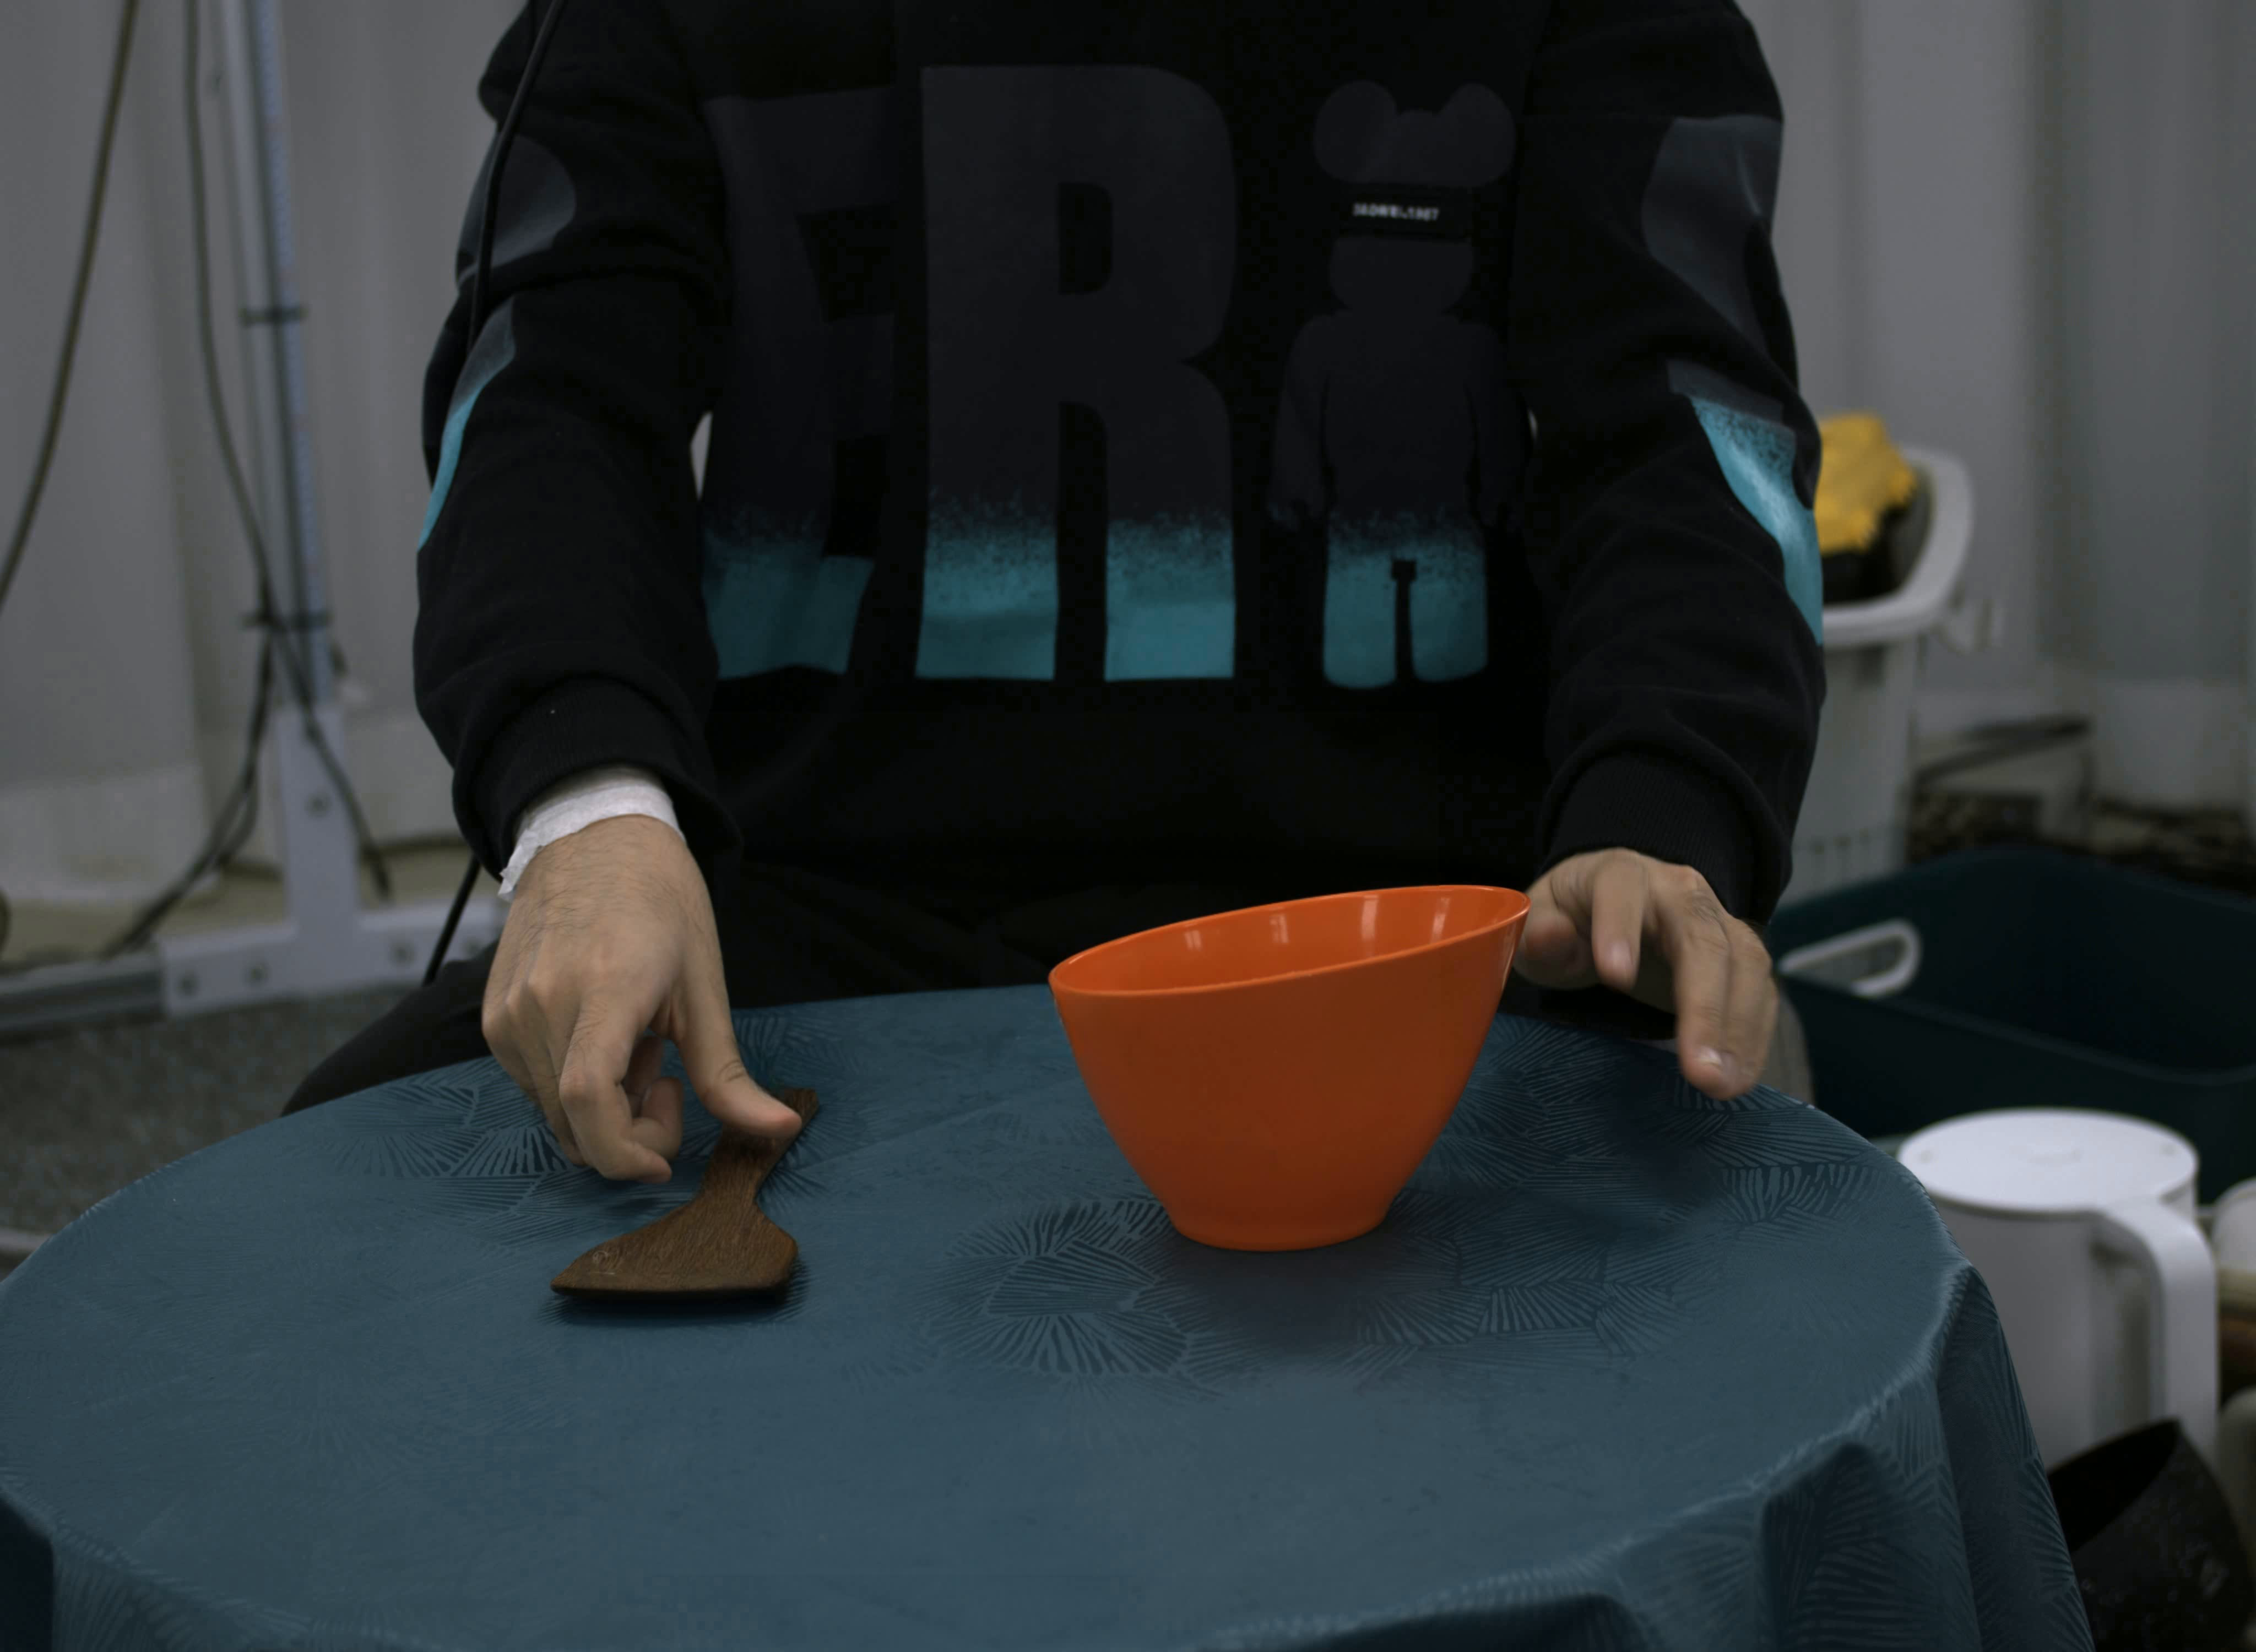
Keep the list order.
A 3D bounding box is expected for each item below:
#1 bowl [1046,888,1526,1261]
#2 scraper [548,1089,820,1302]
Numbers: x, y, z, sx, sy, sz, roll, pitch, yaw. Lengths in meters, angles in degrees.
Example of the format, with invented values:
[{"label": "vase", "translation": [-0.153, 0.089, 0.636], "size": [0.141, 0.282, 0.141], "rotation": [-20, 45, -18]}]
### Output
[{"label": "bowl", "translation": [0.050, 0.075, 1.663], "size": [0.147, 0.104, 0.149], "rotation": [-5, 14, 1]}, {"label": "scraper", "translation": [-0.126, 0.116, 1.720], "size": [0.075, 0.011, 0.212], "rotation": [0, 14, 7]}]
